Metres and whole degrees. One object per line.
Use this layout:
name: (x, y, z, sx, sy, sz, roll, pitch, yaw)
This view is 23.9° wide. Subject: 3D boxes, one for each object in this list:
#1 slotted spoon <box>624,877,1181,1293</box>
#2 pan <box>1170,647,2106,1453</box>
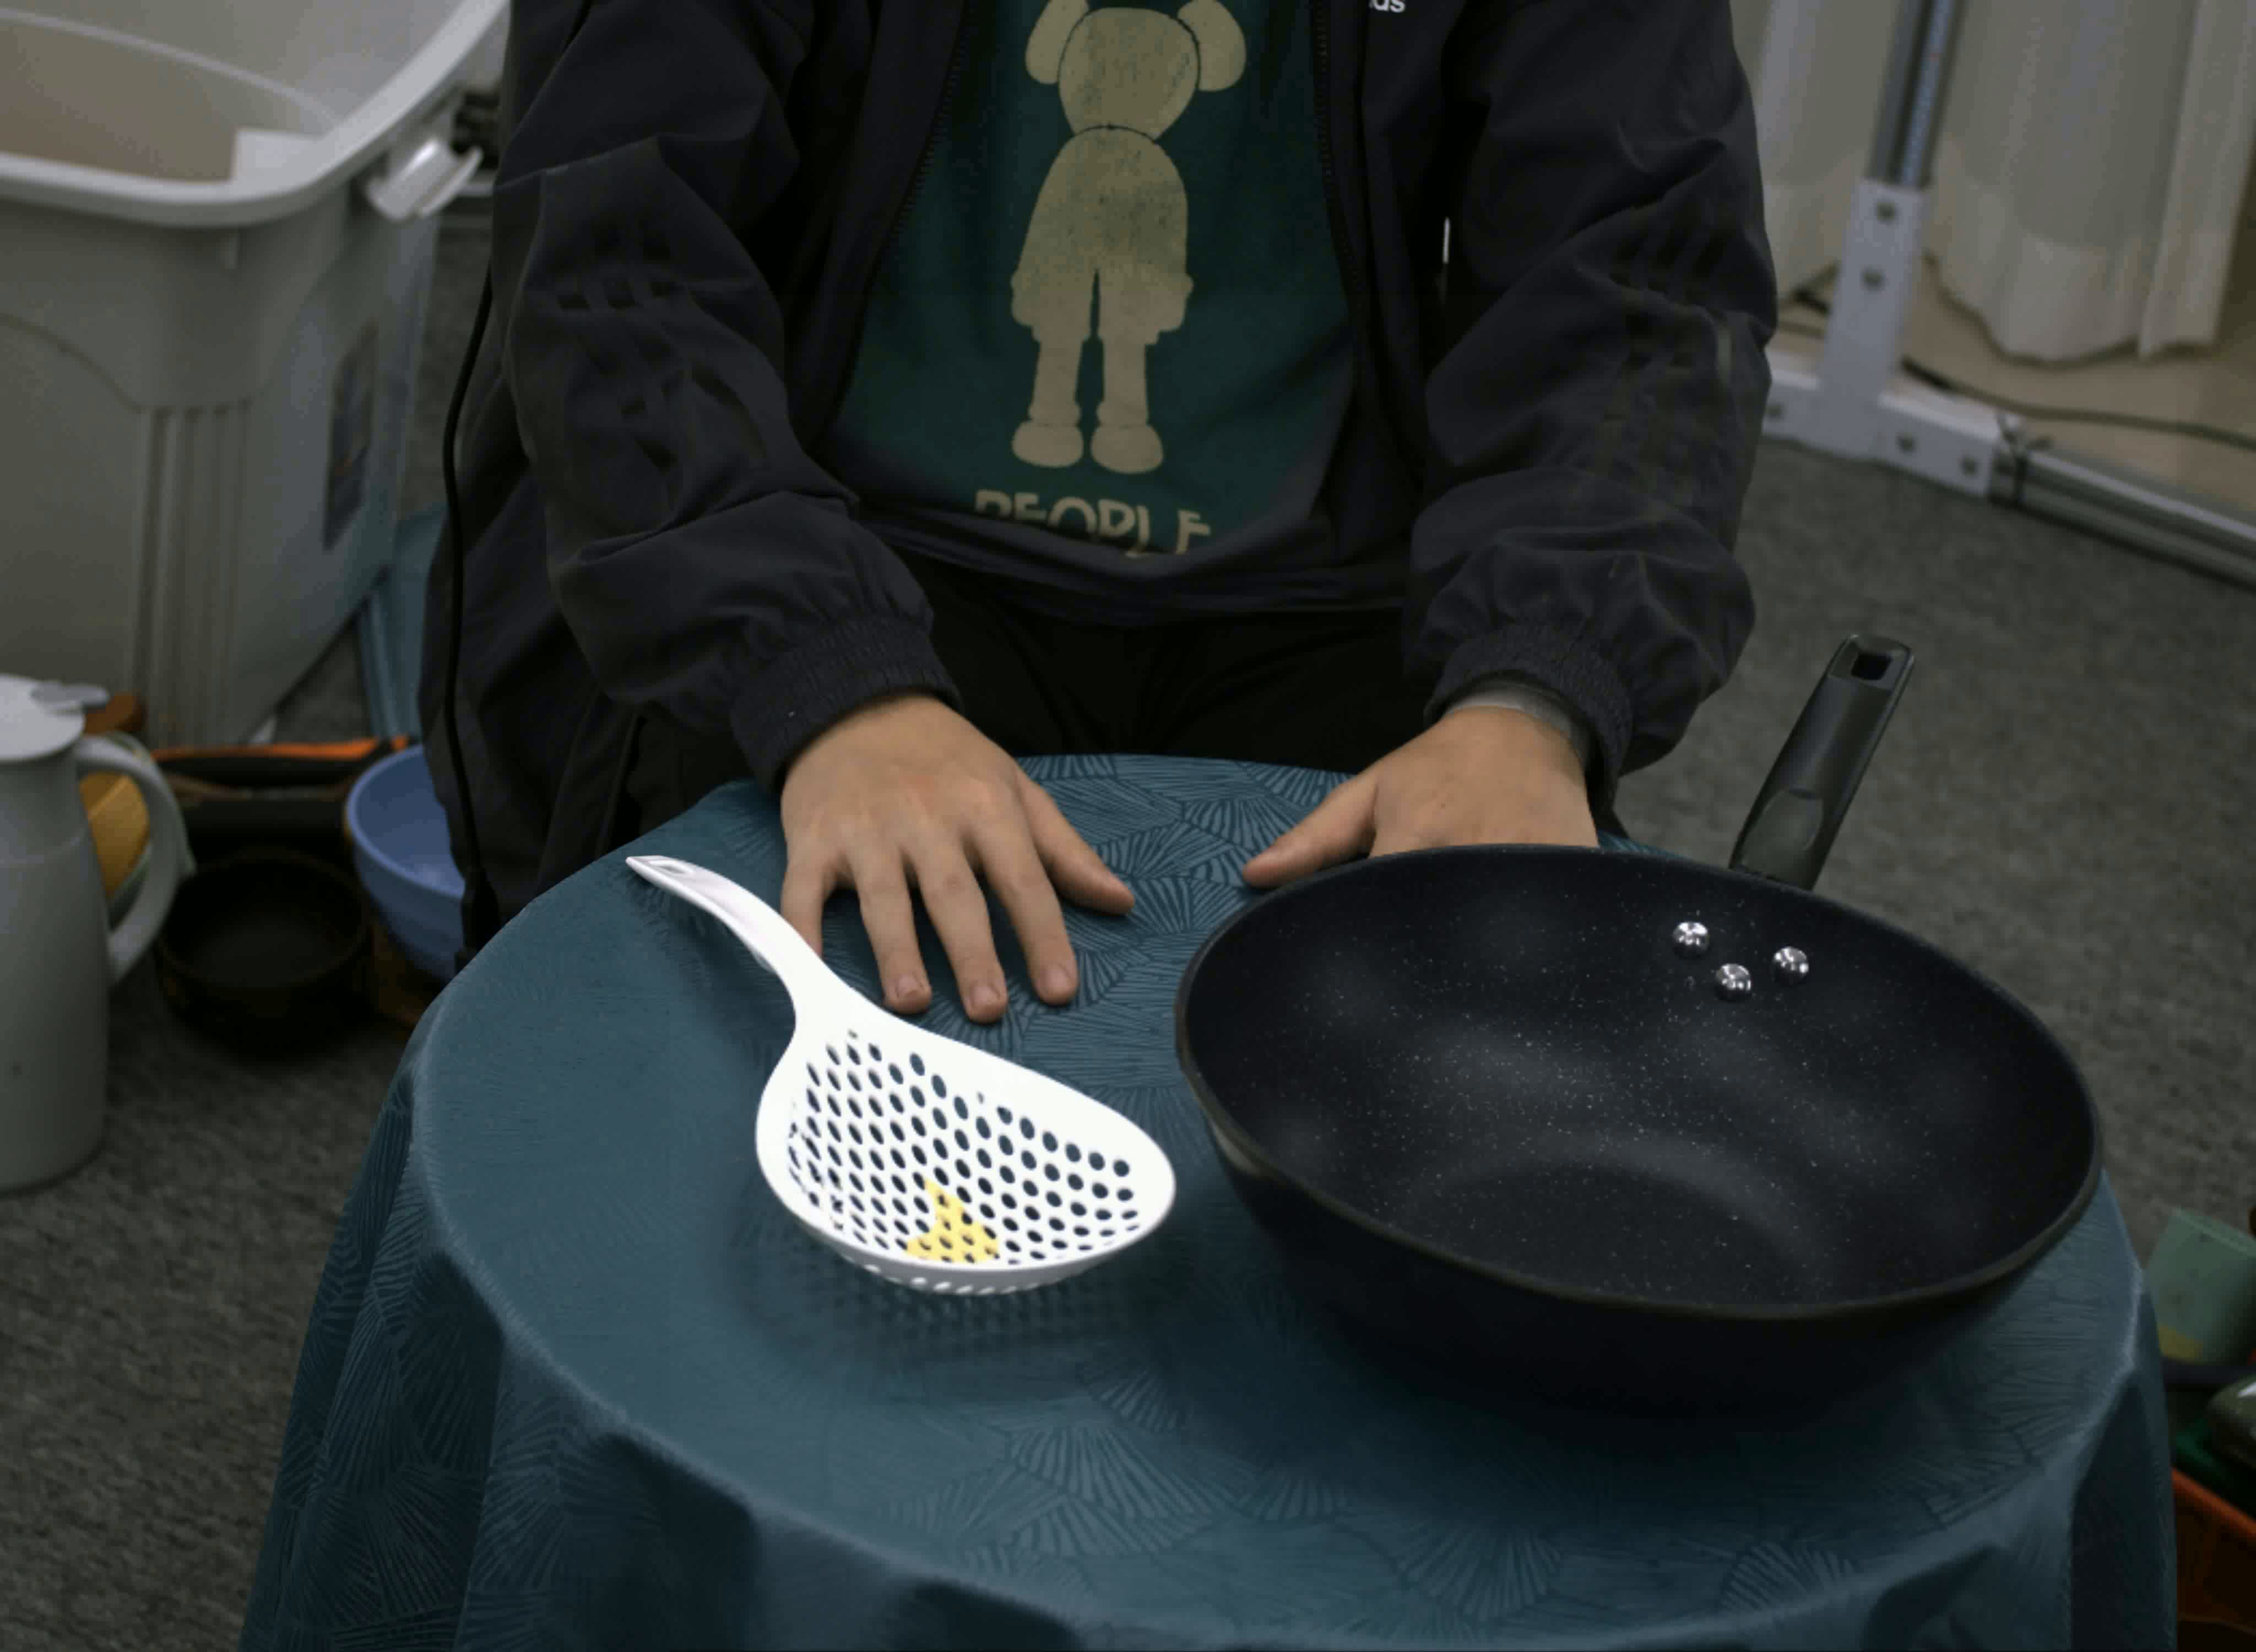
slotted spoon: (-0.099, 0.076, 1.831, 0.136, 0.050, 0.351, -8, 30, -24)
pan: (0.194, 0.076, 1.827, 0.311, 0.111, 0.477, 16, 29, 16)
